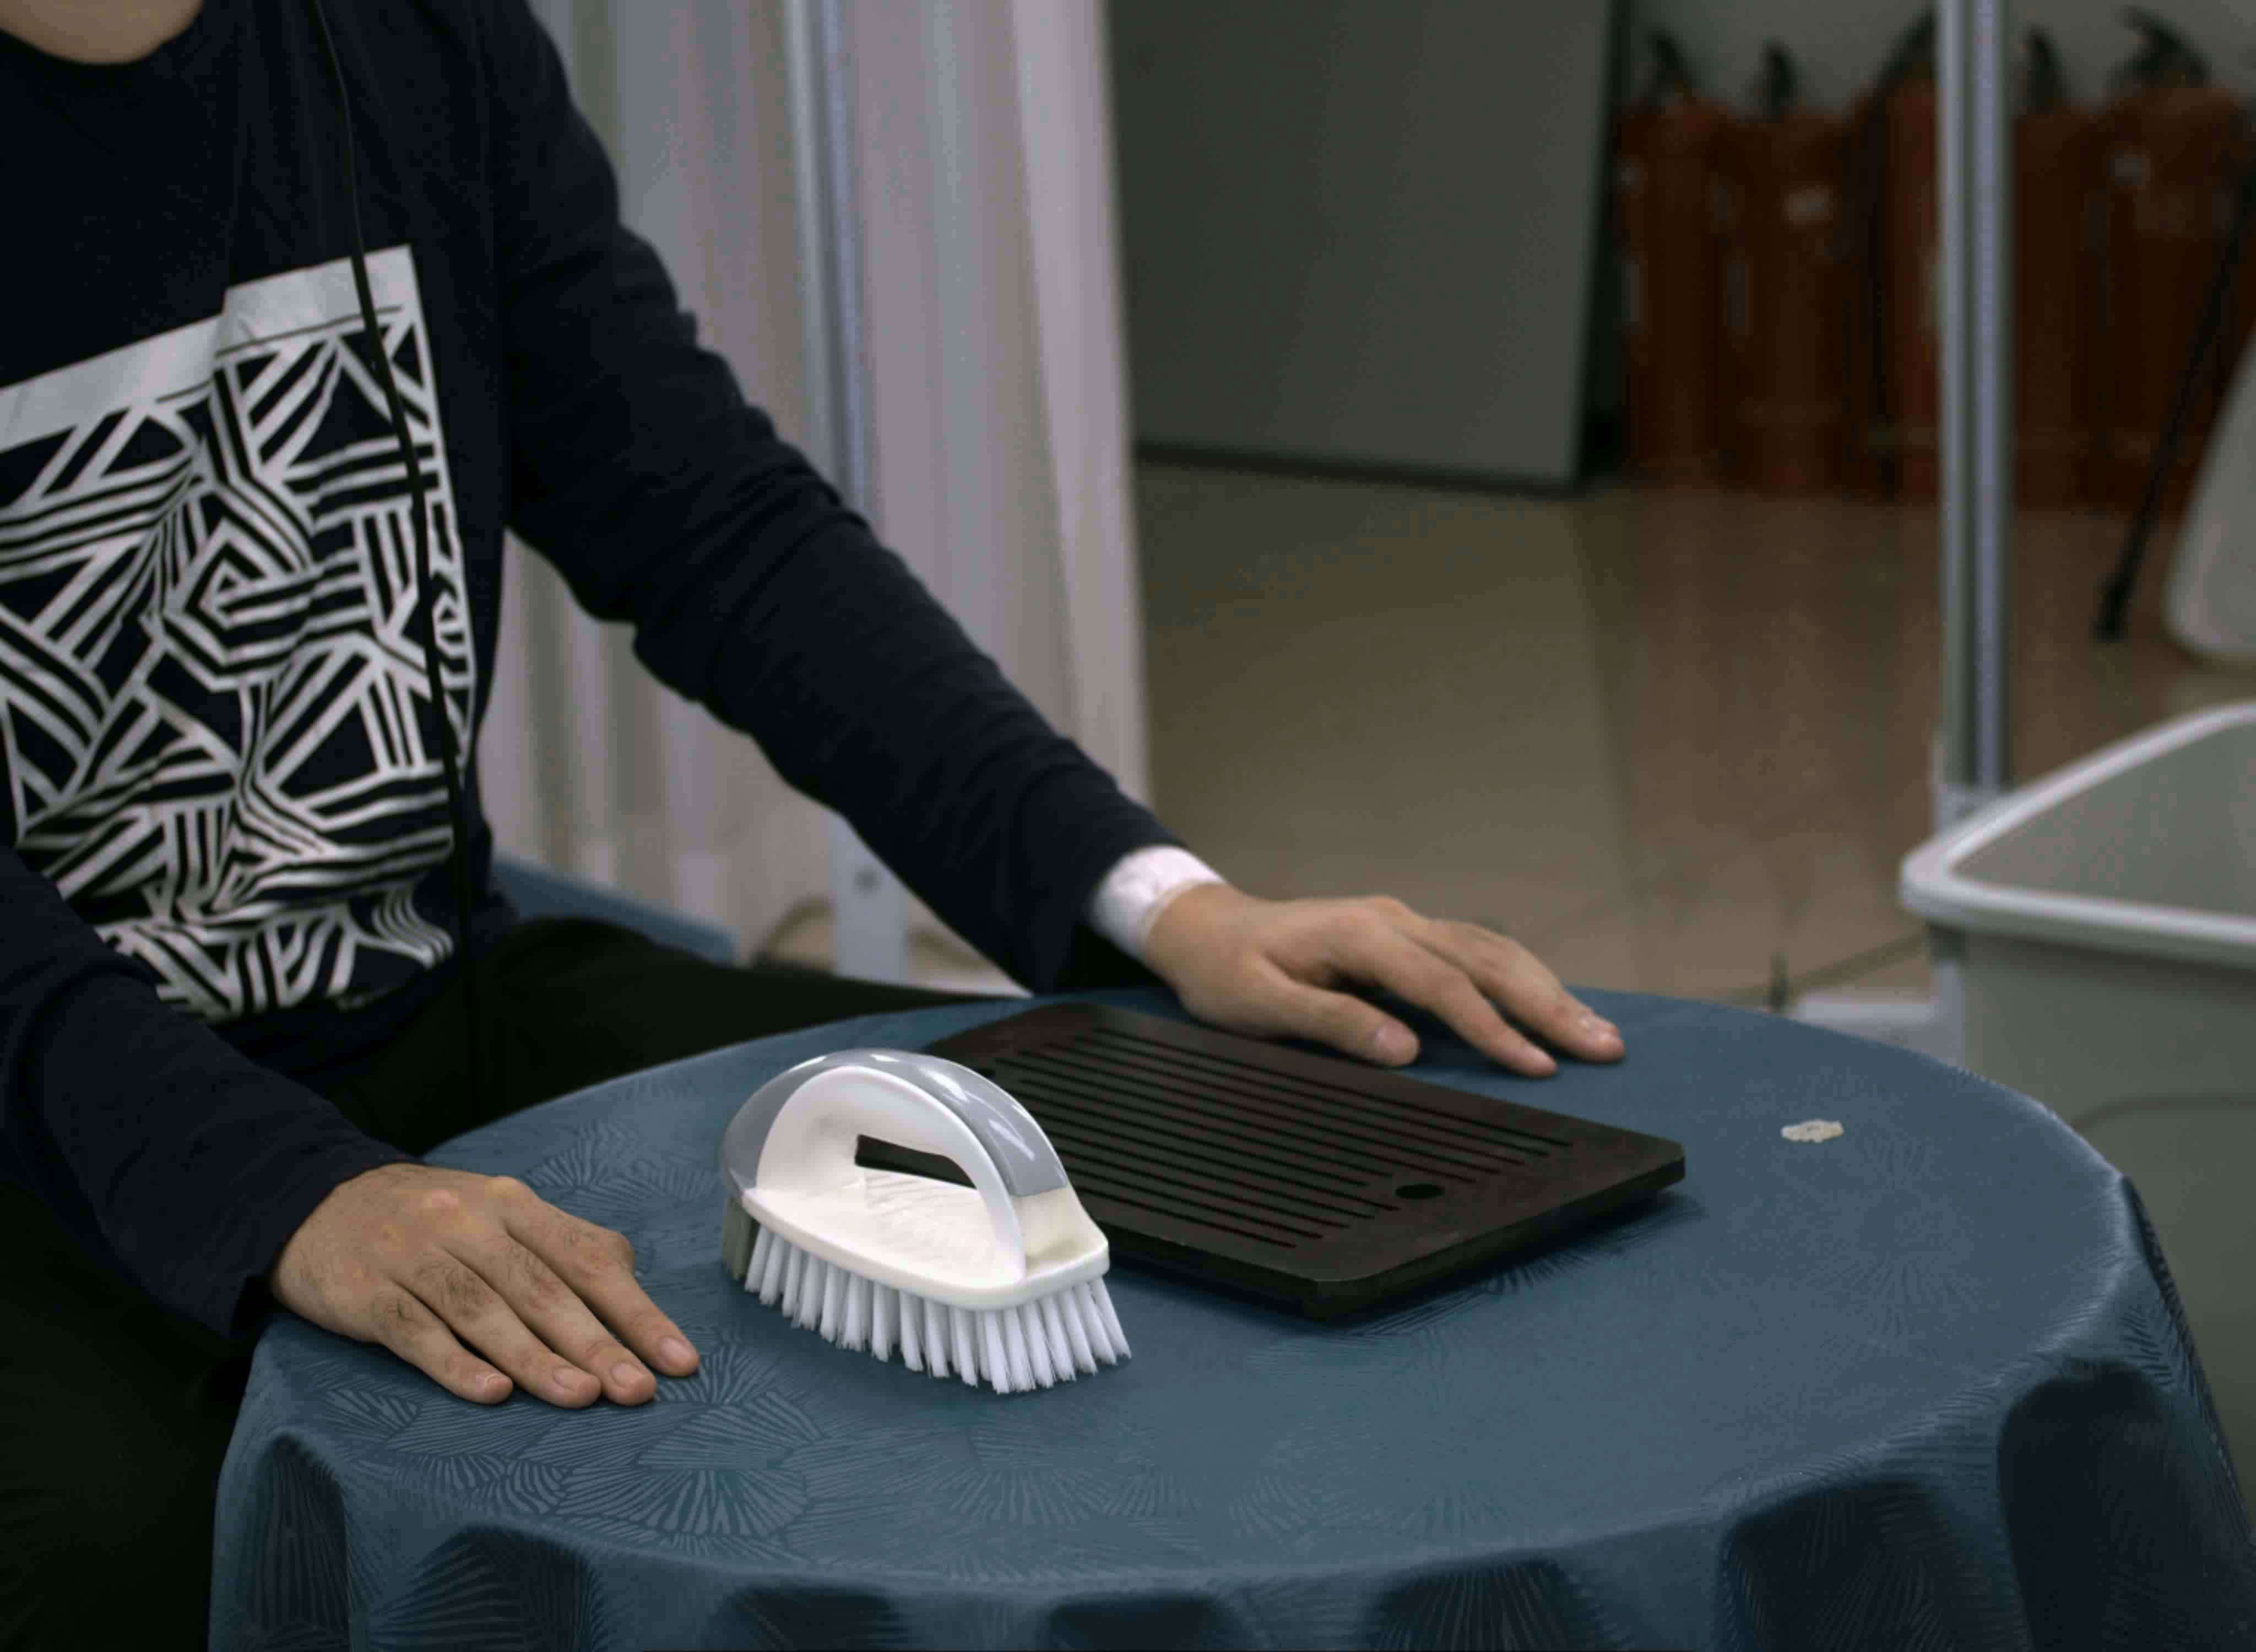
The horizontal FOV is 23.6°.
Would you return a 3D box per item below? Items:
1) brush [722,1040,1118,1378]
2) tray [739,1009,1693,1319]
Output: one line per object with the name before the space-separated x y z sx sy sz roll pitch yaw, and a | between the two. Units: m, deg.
brush | -0.076 0.111 1.651 0.060 0.095 0.177 -14 15 -36
tray | 0.025 0.109 1.784 0.166 0.019 0.309 -16 17 -40
